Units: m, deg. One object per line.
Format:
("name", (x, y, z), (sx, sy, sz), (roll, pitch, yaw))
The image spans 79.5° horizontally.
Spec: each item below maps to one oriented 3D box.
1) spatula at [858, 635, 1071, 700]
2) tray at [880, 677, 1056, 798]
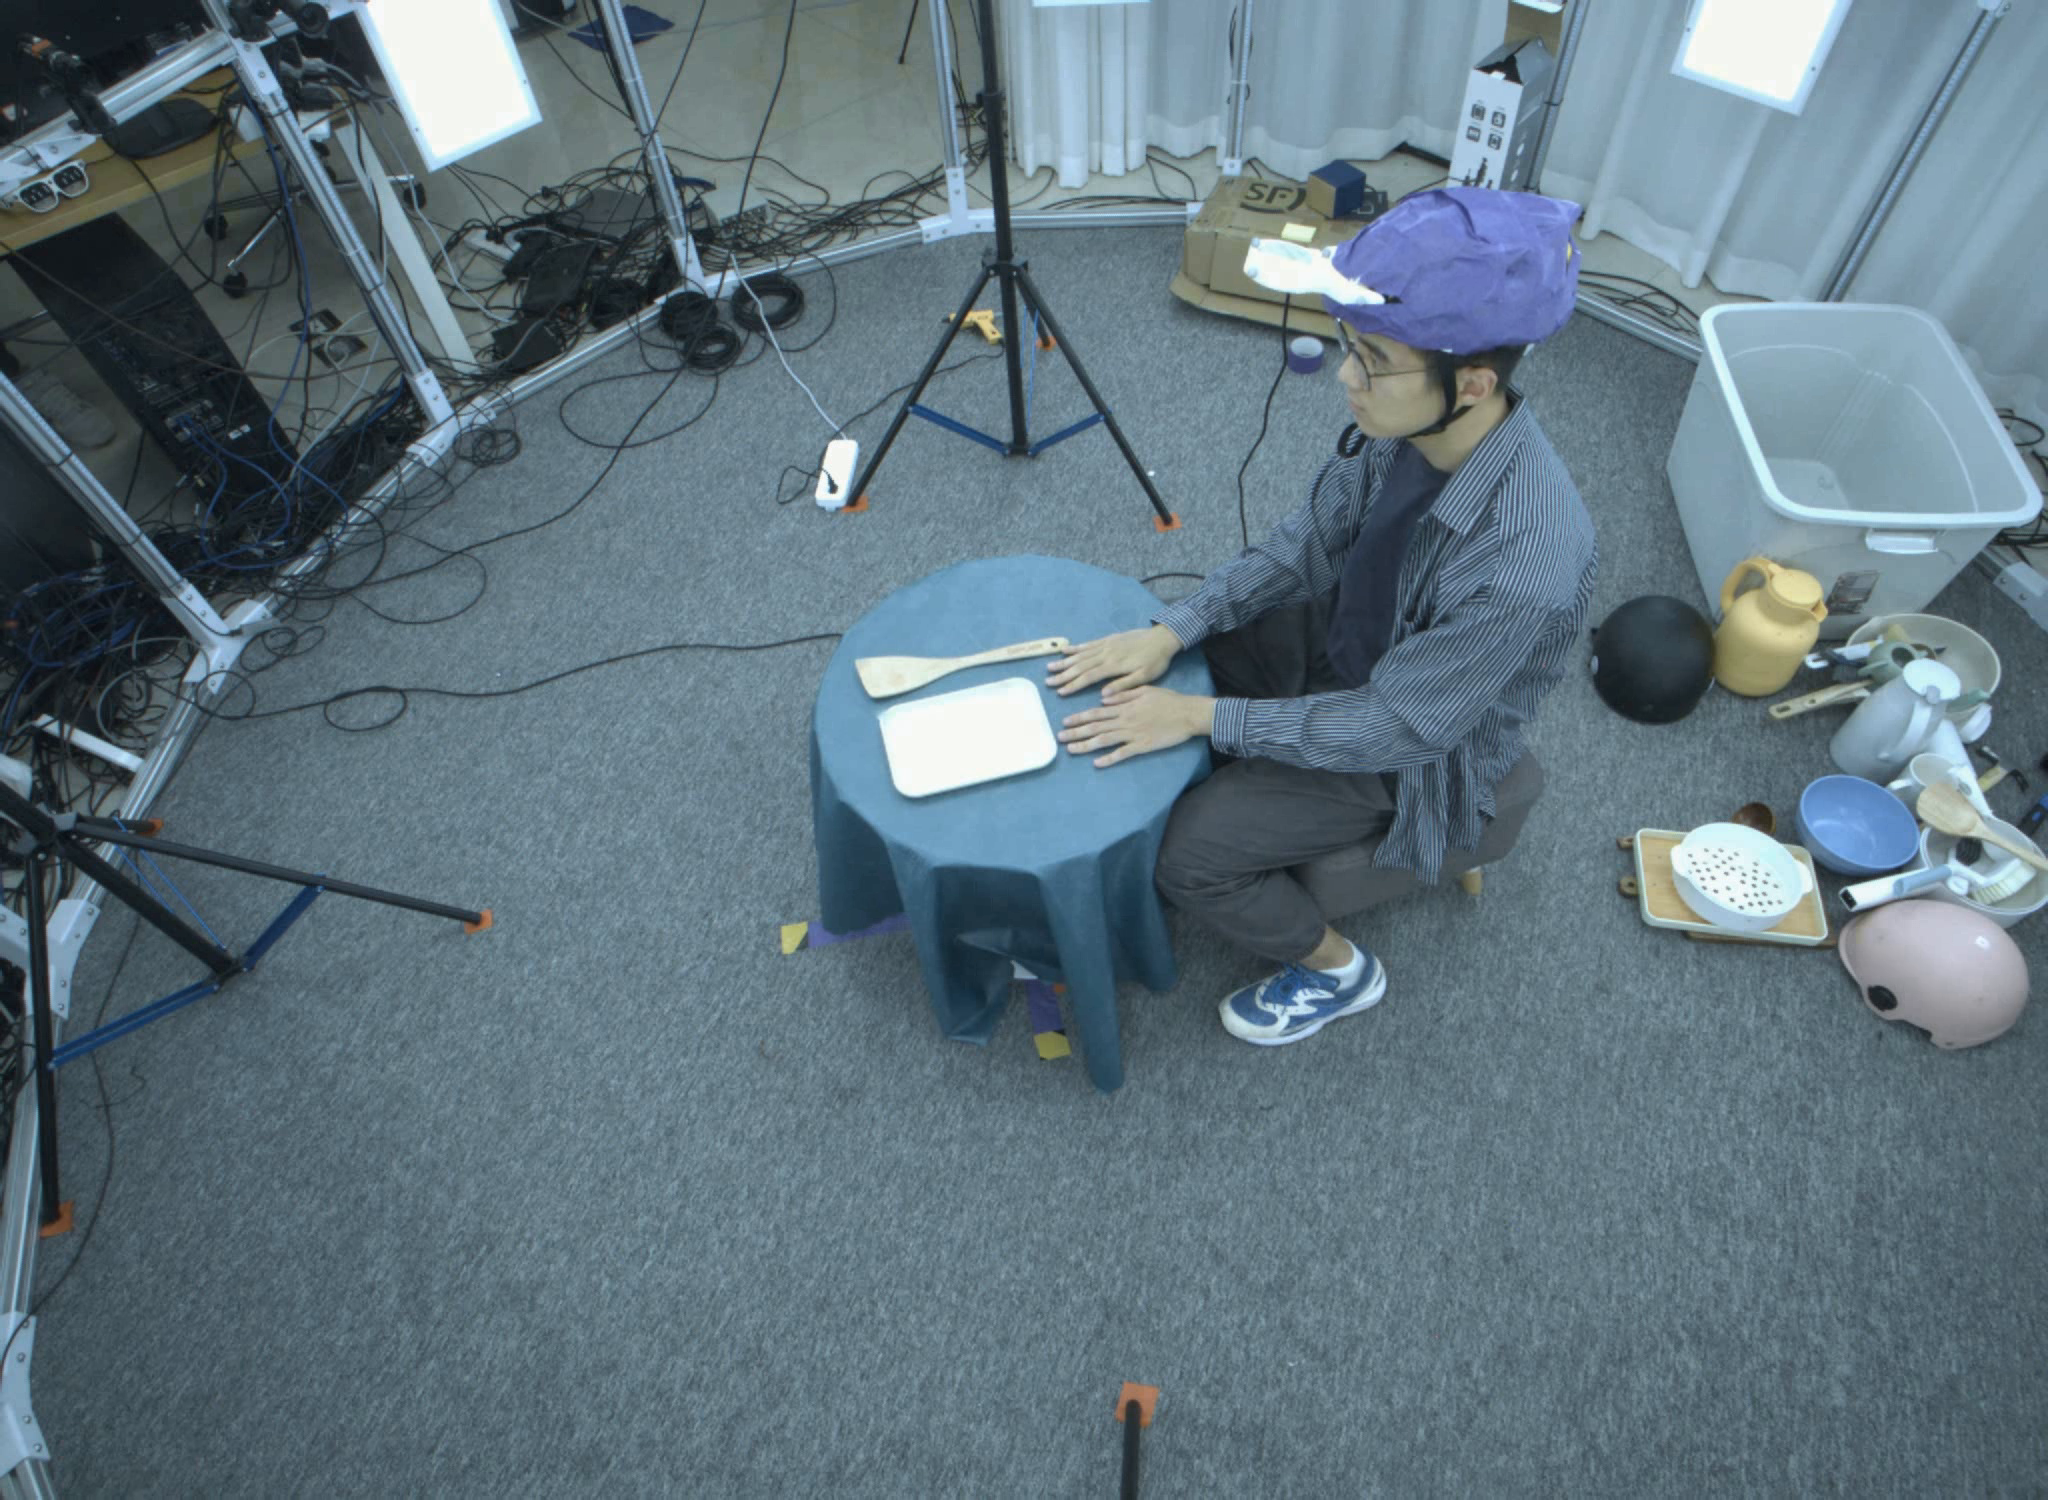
("spatula", (-0.088, -0.136, 1.881), (0.329, 0.017, 0.078), (-13, 56, -7))
("tray", (-0.083, -0.019, 1.797), (0.241, 0.017, 0.168), (-13, 56, -8))
